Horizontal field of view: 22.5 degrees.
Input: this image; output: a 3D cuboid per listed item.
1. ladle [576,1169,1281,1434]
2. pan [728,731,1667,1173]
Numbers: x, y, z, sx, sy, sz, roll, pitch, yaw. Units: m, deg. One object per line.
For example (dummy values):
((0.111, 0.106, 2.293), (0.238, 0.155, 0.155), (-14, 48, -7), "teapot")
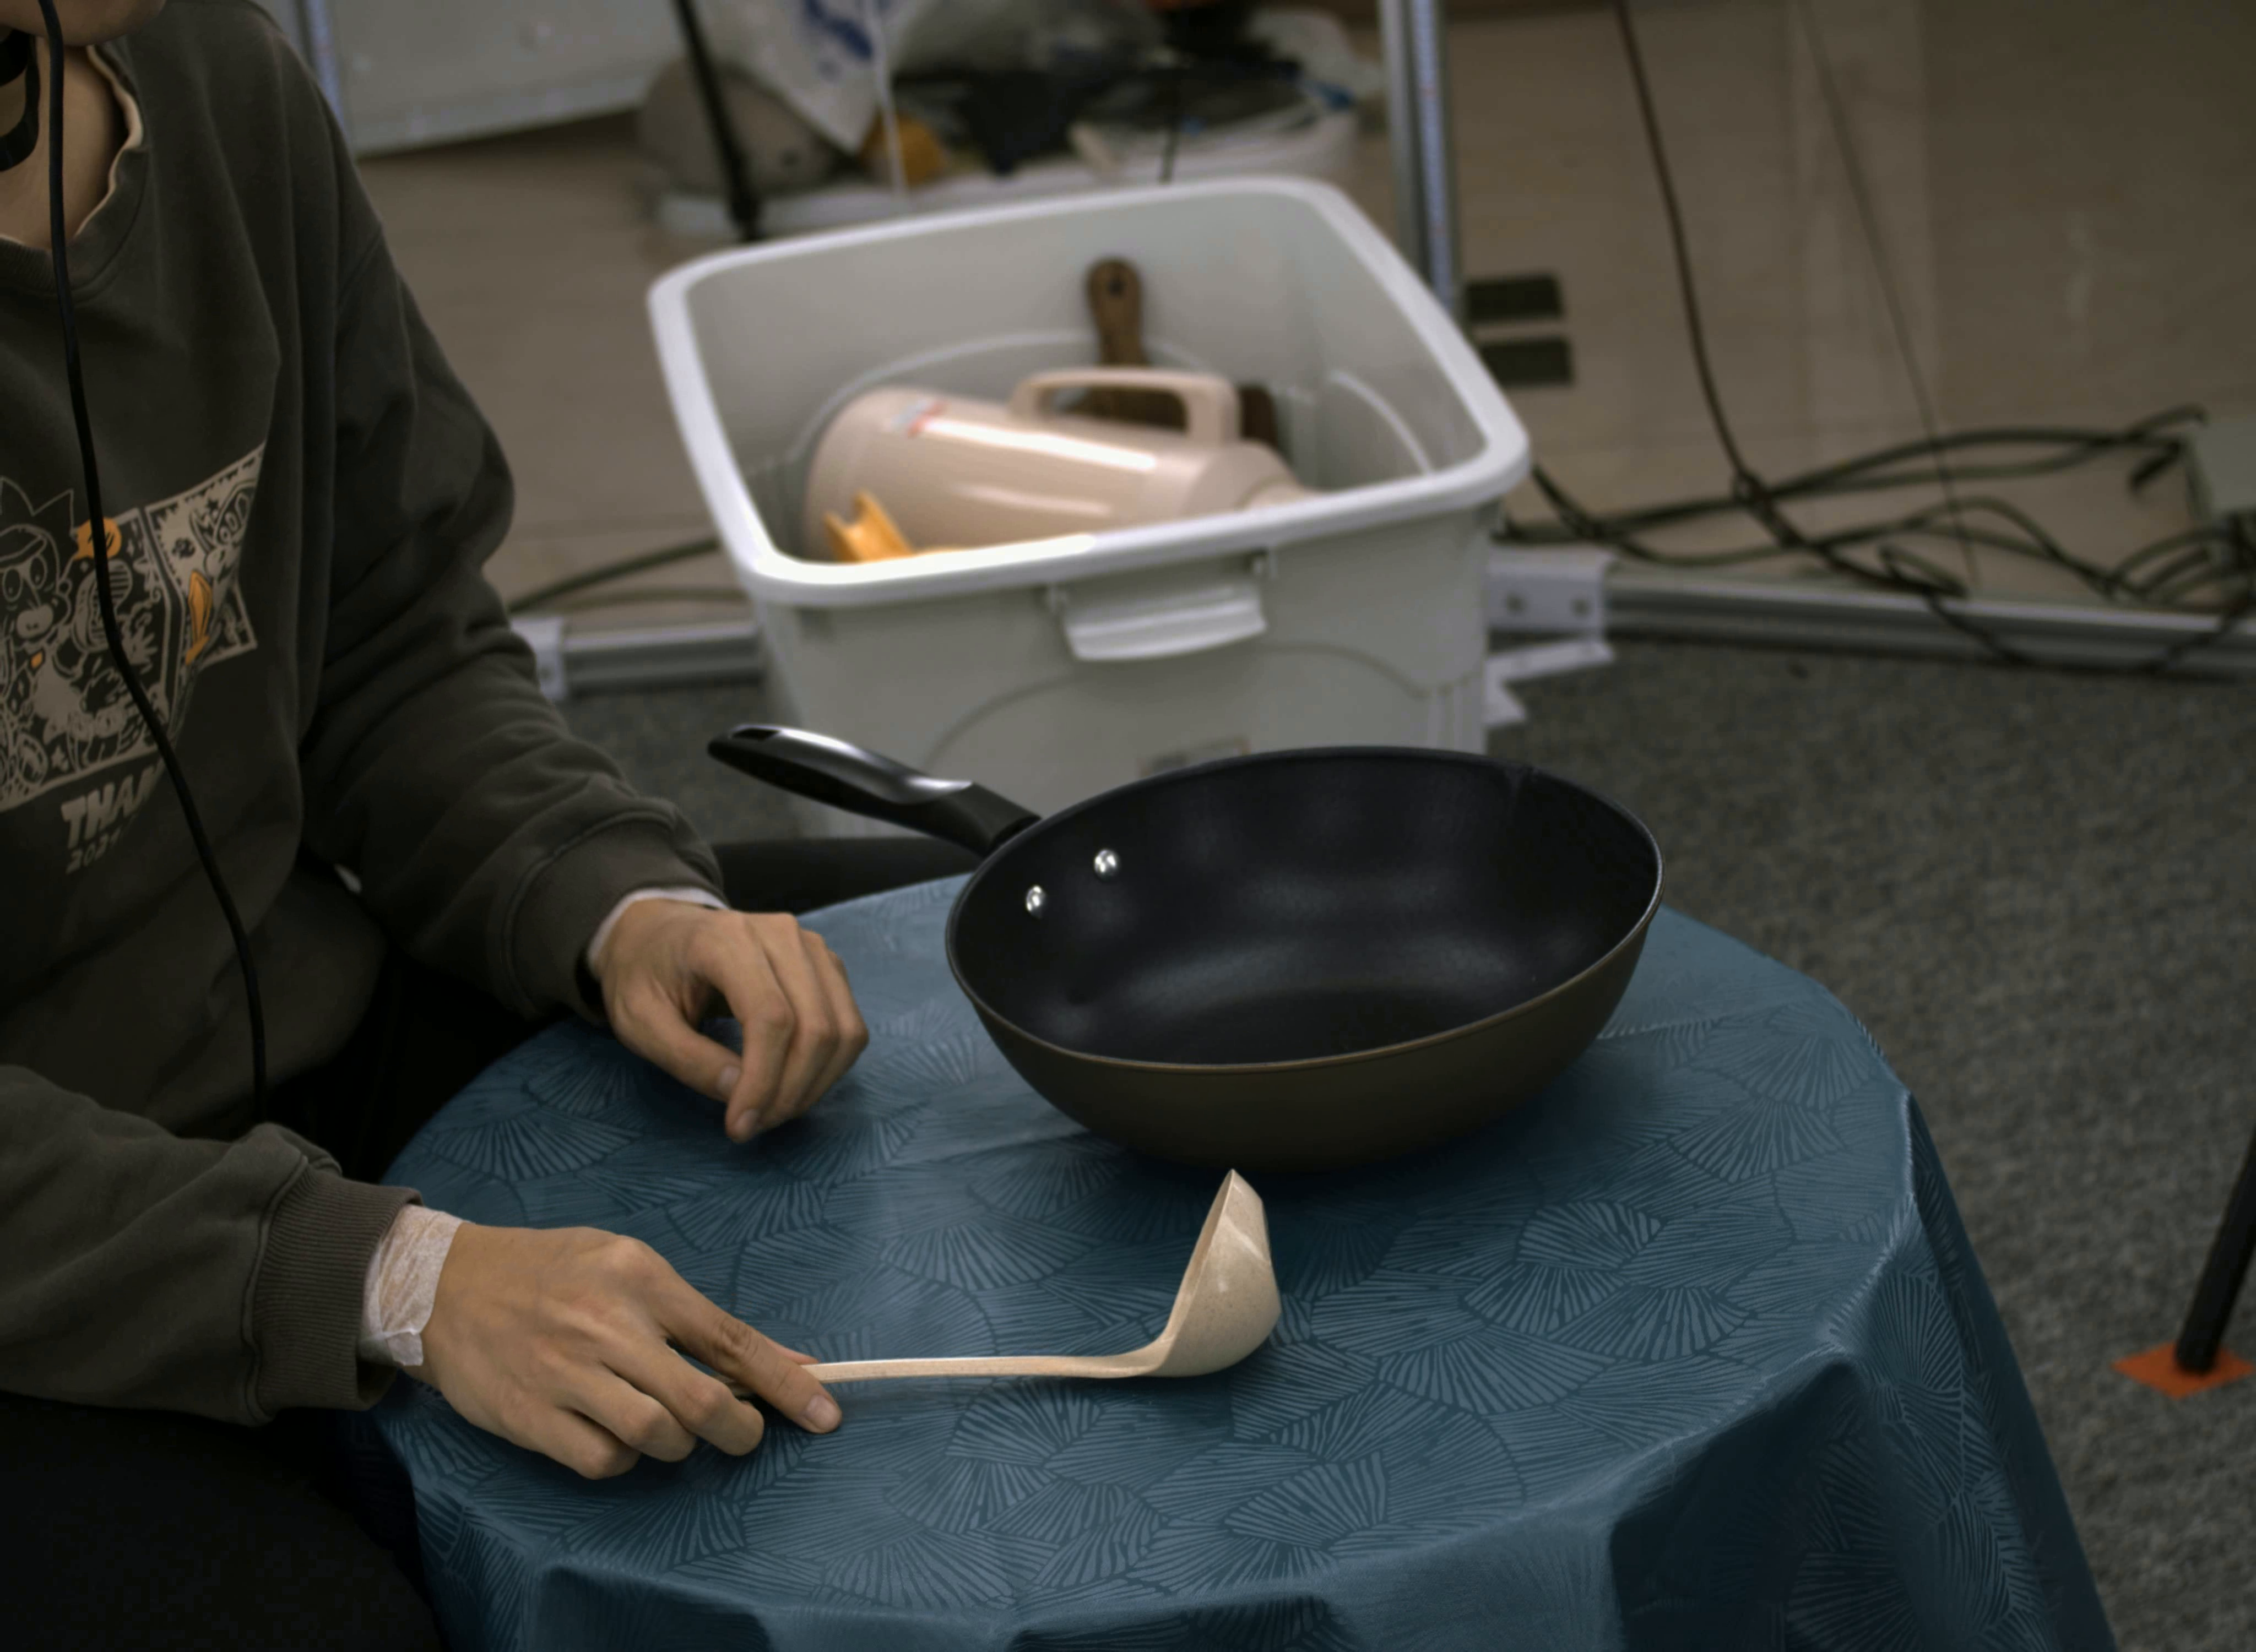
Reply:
((-0.074, 0.168, 2.012), (0.254, 0.073, 0.071), (-5, 15, 0), "ladle")
((0.004, 0.043, 2.251), (0.460, 0.088, 0.285), (15, 33, 41), "pan")
